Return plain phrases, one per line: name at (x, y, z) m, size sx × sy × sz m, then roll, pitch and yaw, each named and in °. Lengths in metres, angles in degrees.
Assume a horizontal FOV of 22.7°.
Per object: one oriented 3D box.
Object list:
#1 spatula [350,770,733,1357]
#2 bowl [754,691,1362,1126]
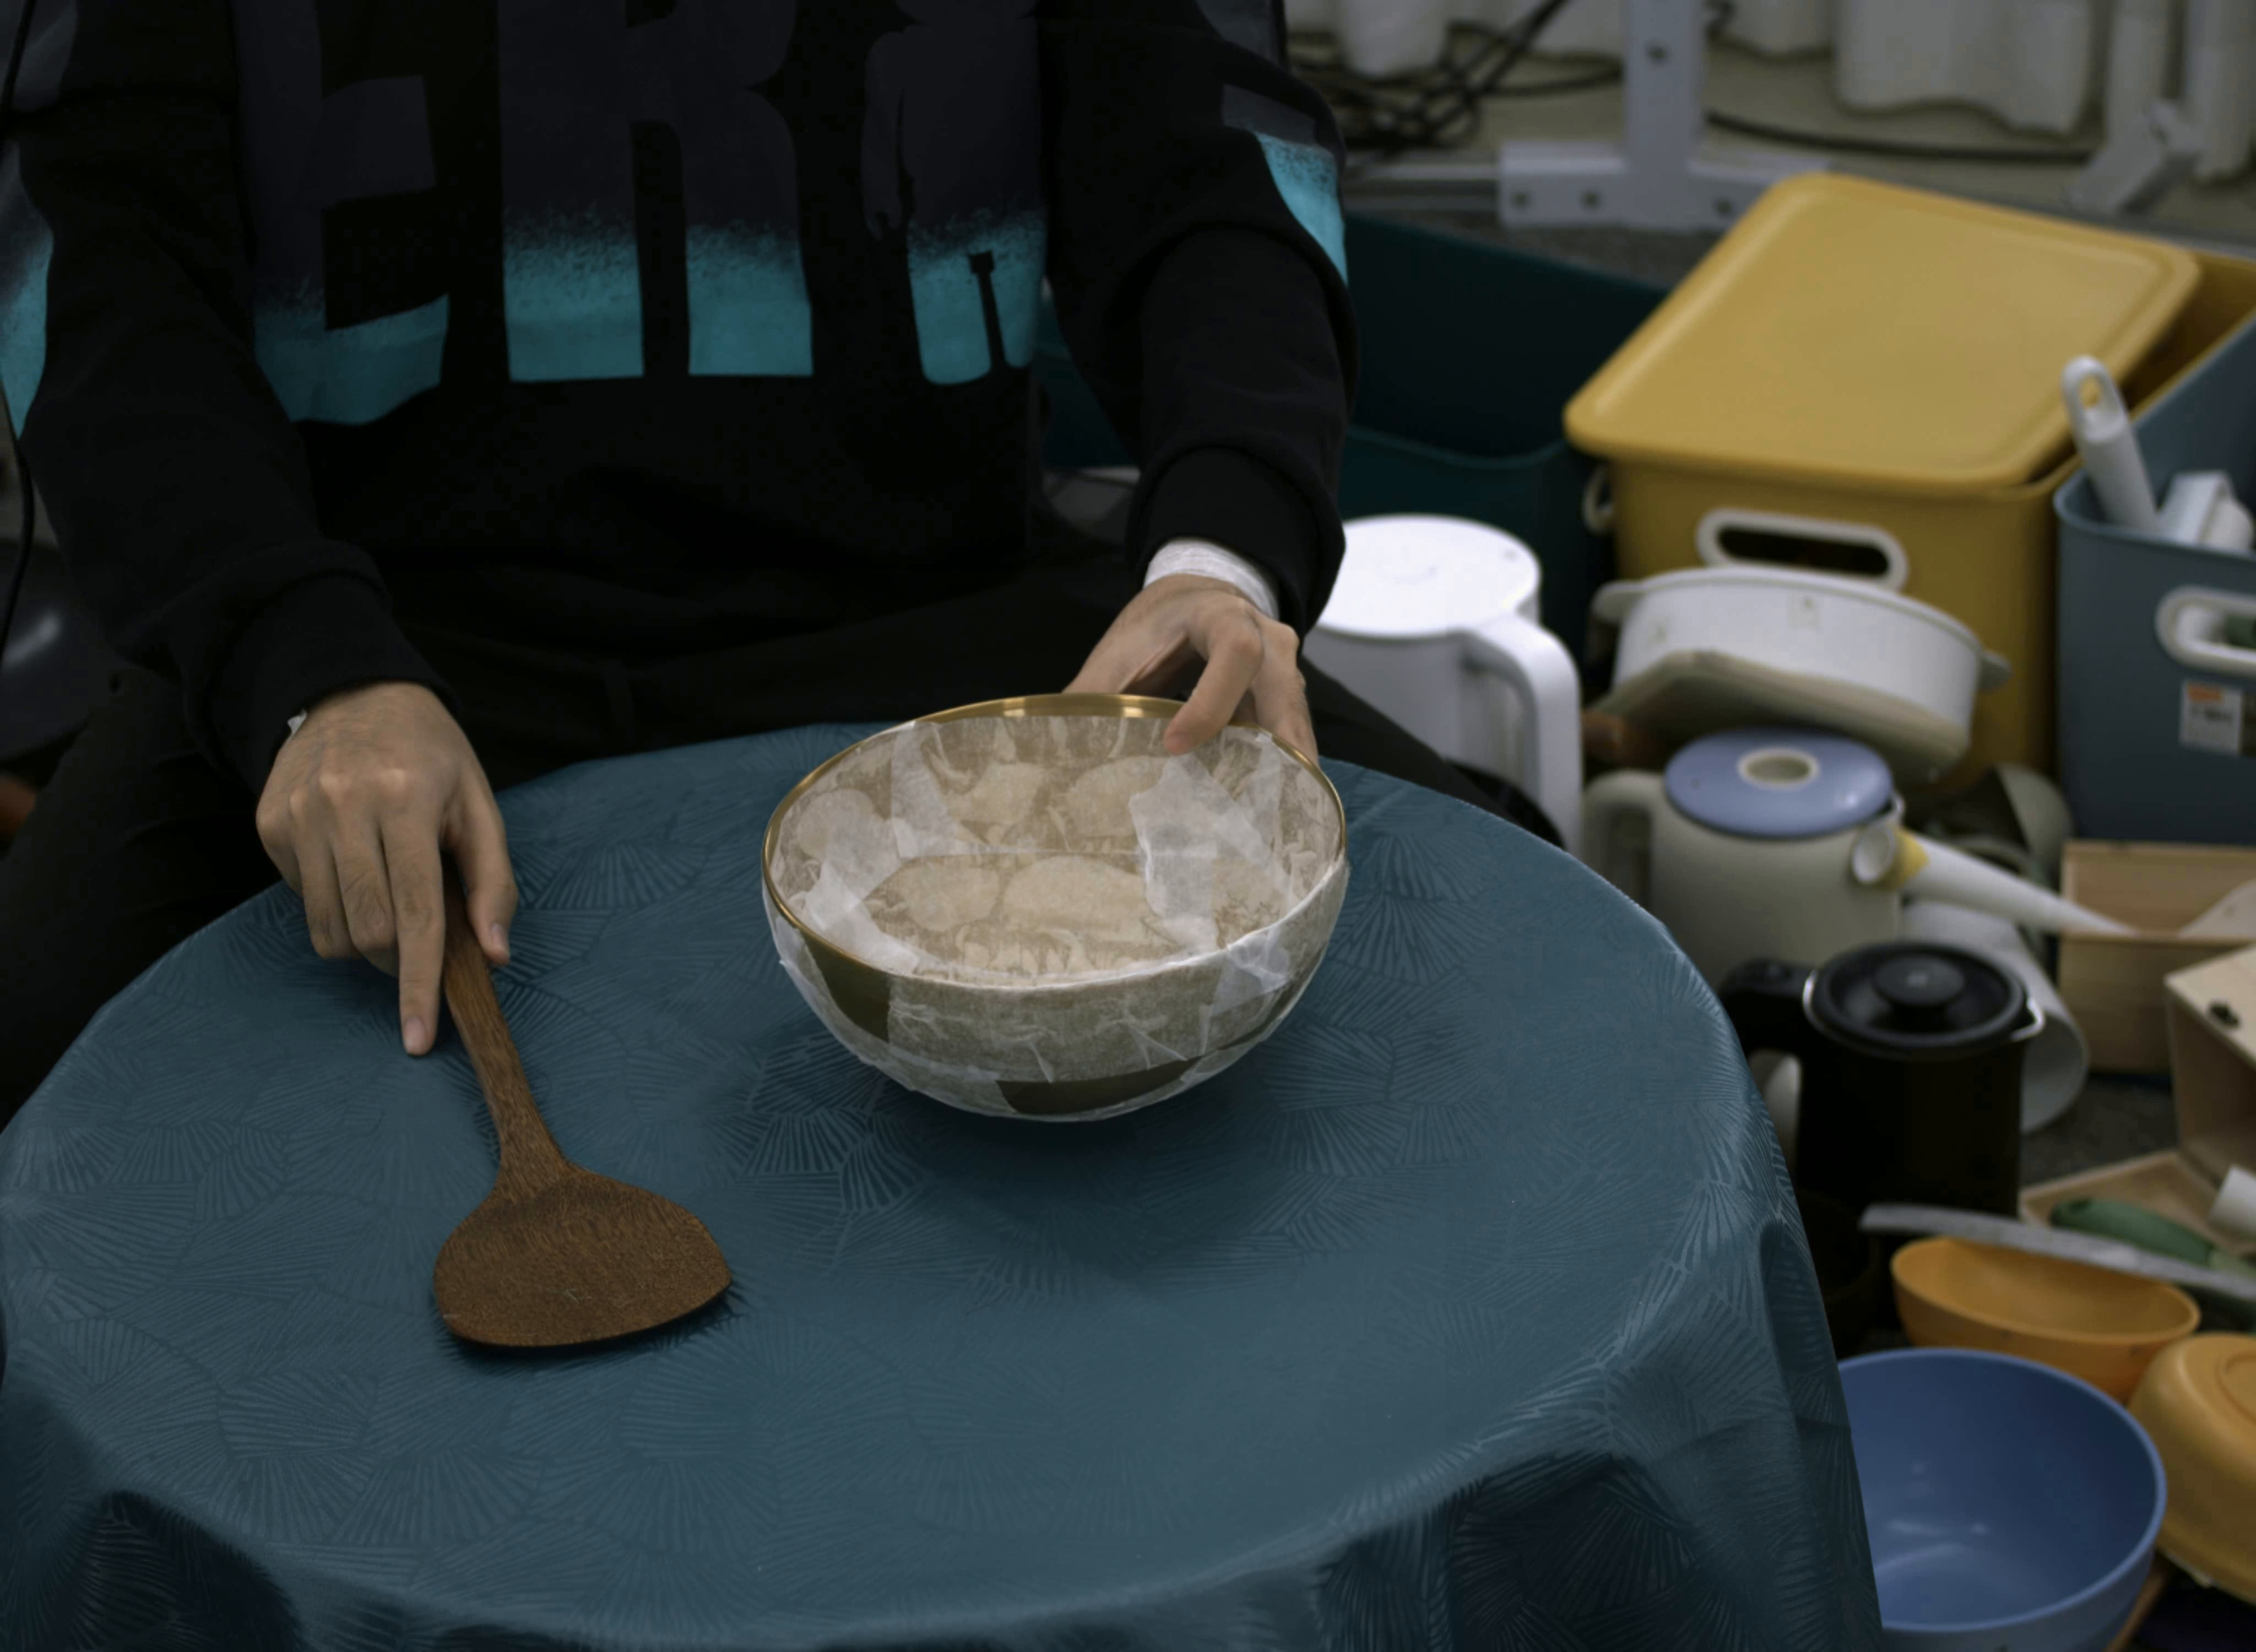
spatula at (-0.223, 0.073, 1.945) m, size 0.096 × 0.015 × 0.390 m, roll -10°, pitch 32°, yaw -14°
bowl at (-0.021, 0.040, 1.922) m, size 0.213 × 0.093 × 0.218 m, roll -4°, pitch 28°, yaw 2°
